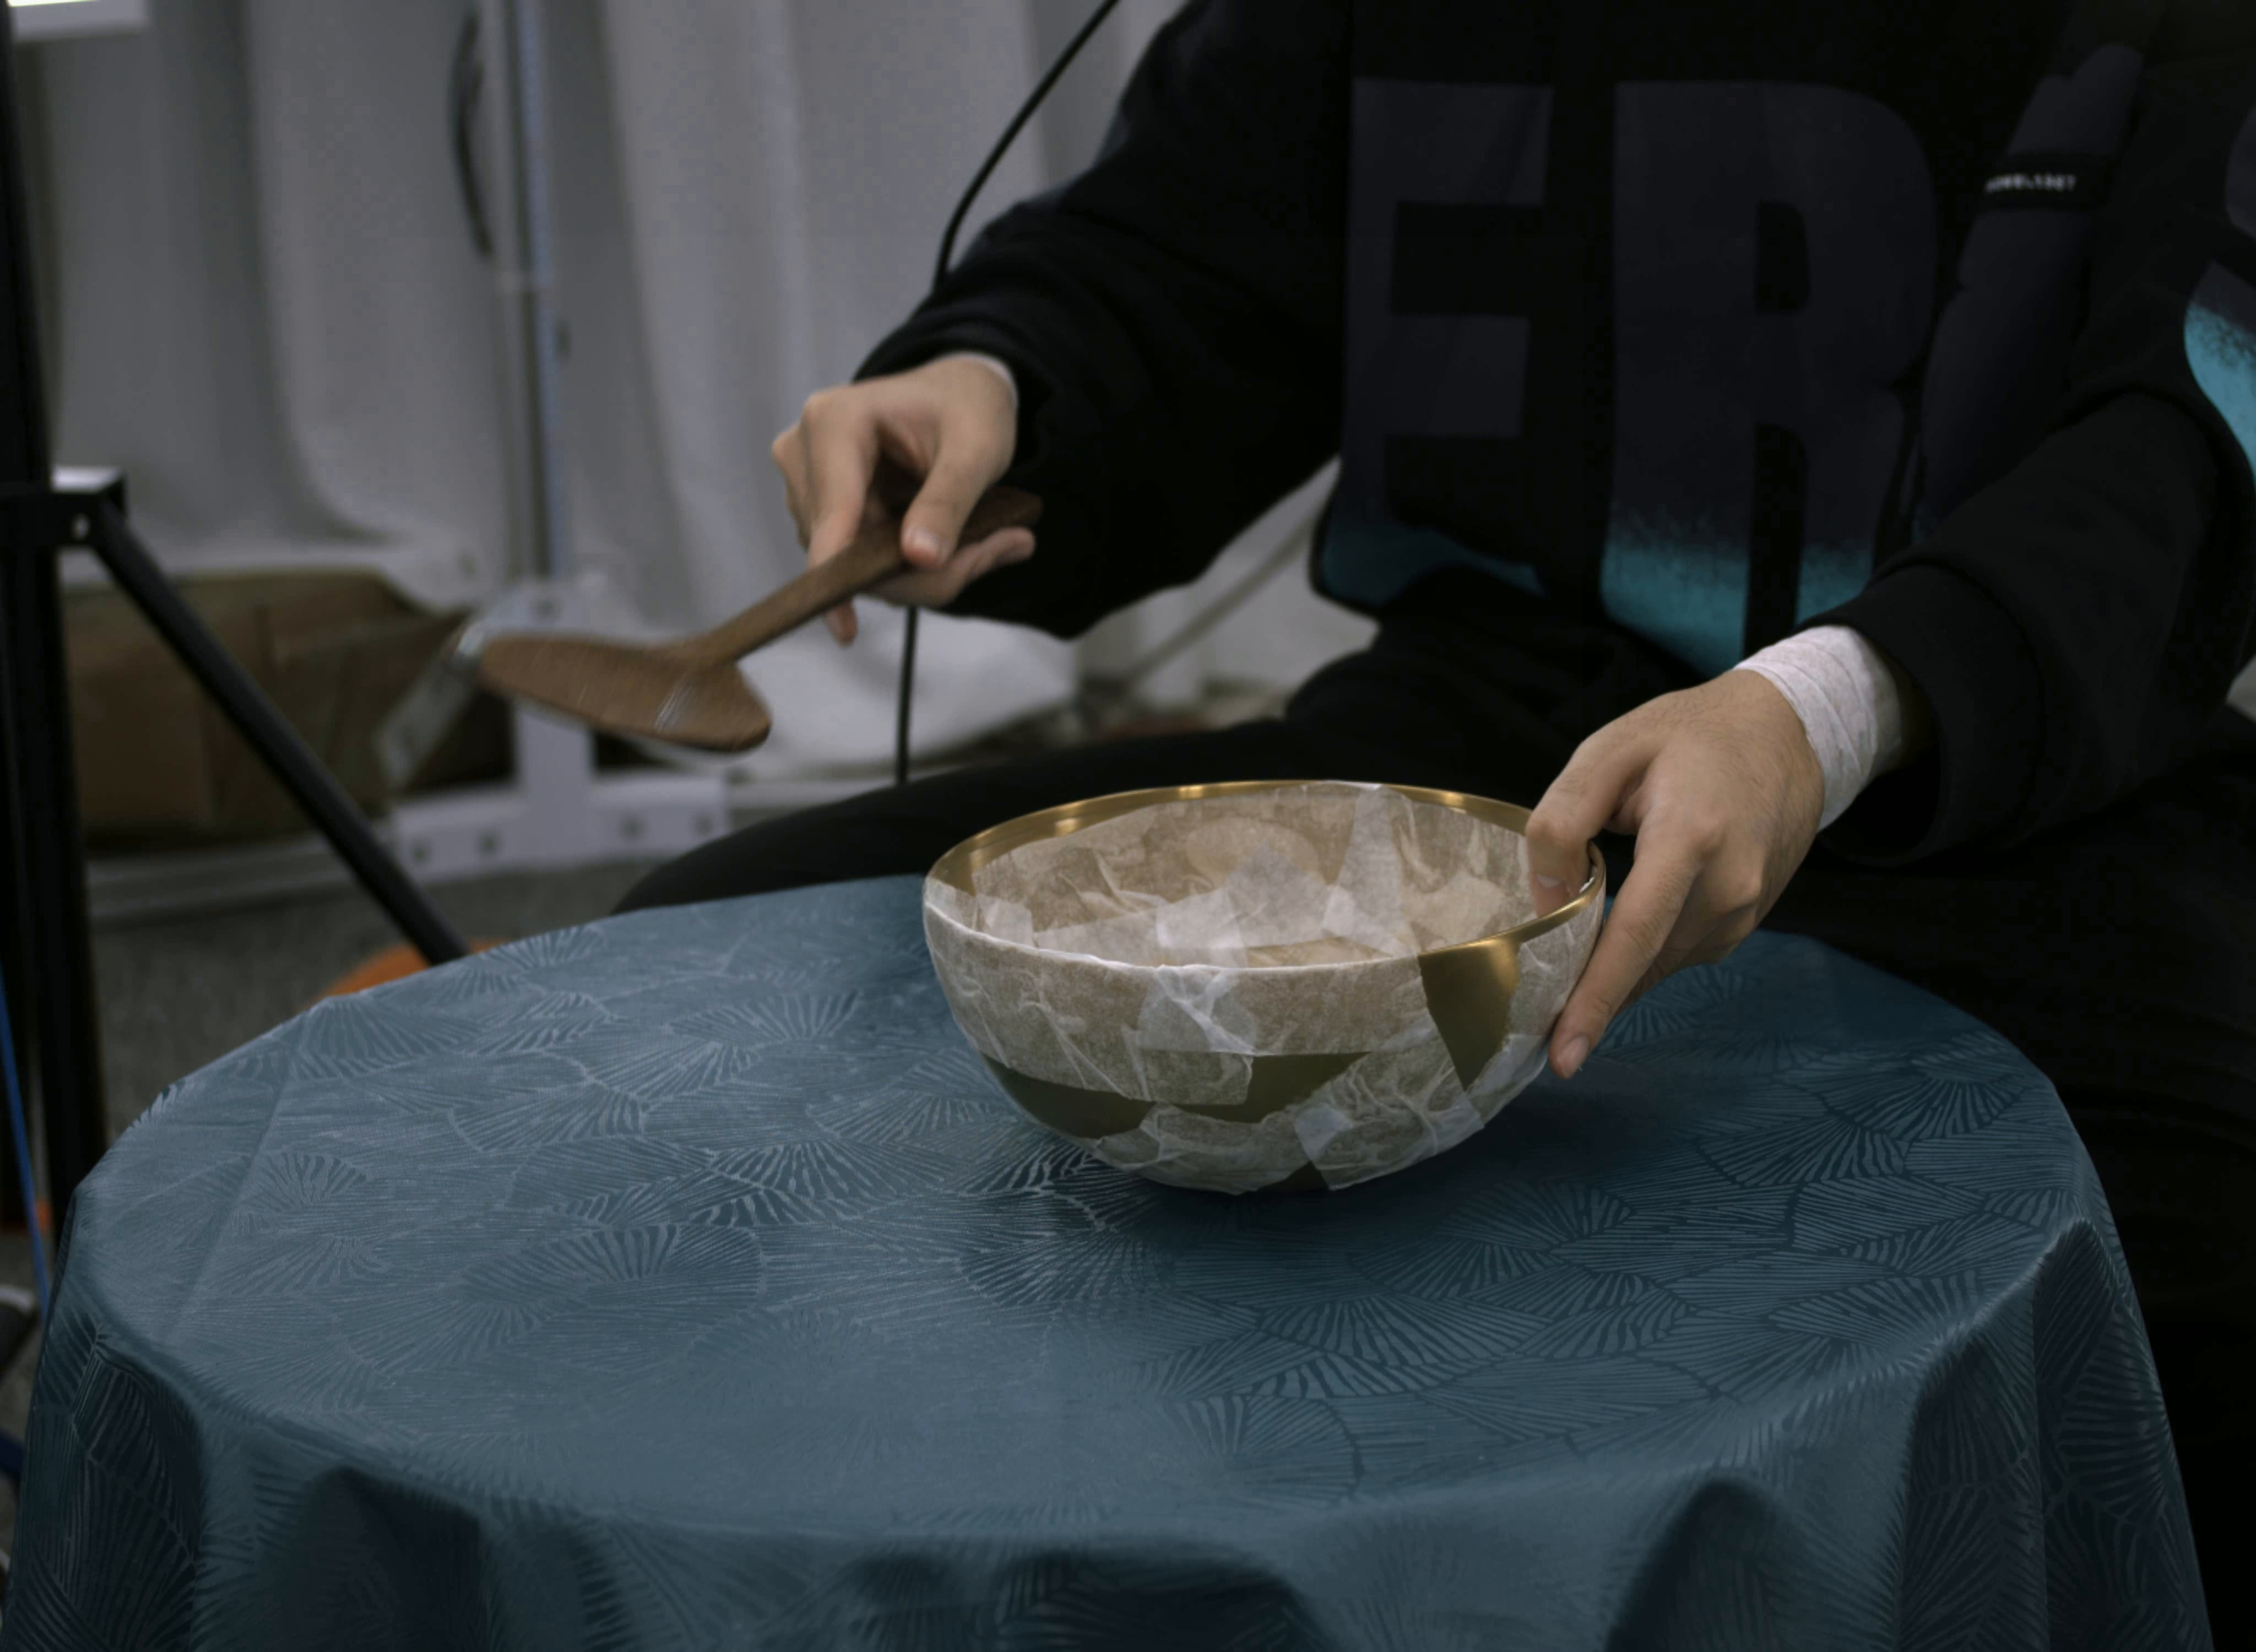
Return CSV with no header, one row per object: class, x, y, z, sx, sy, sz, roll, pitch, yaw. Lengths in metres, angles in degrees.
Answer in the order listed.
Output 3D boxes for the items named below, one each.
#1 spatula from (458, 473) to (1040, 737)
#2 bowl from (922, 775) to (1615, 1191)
spatula,-0.100,-0.078,1.712,0.097,0.016,0.381,20,19,14
bowl,0.044,0.053,1.568,0.213,0.094,0.216,-3,15,-1
